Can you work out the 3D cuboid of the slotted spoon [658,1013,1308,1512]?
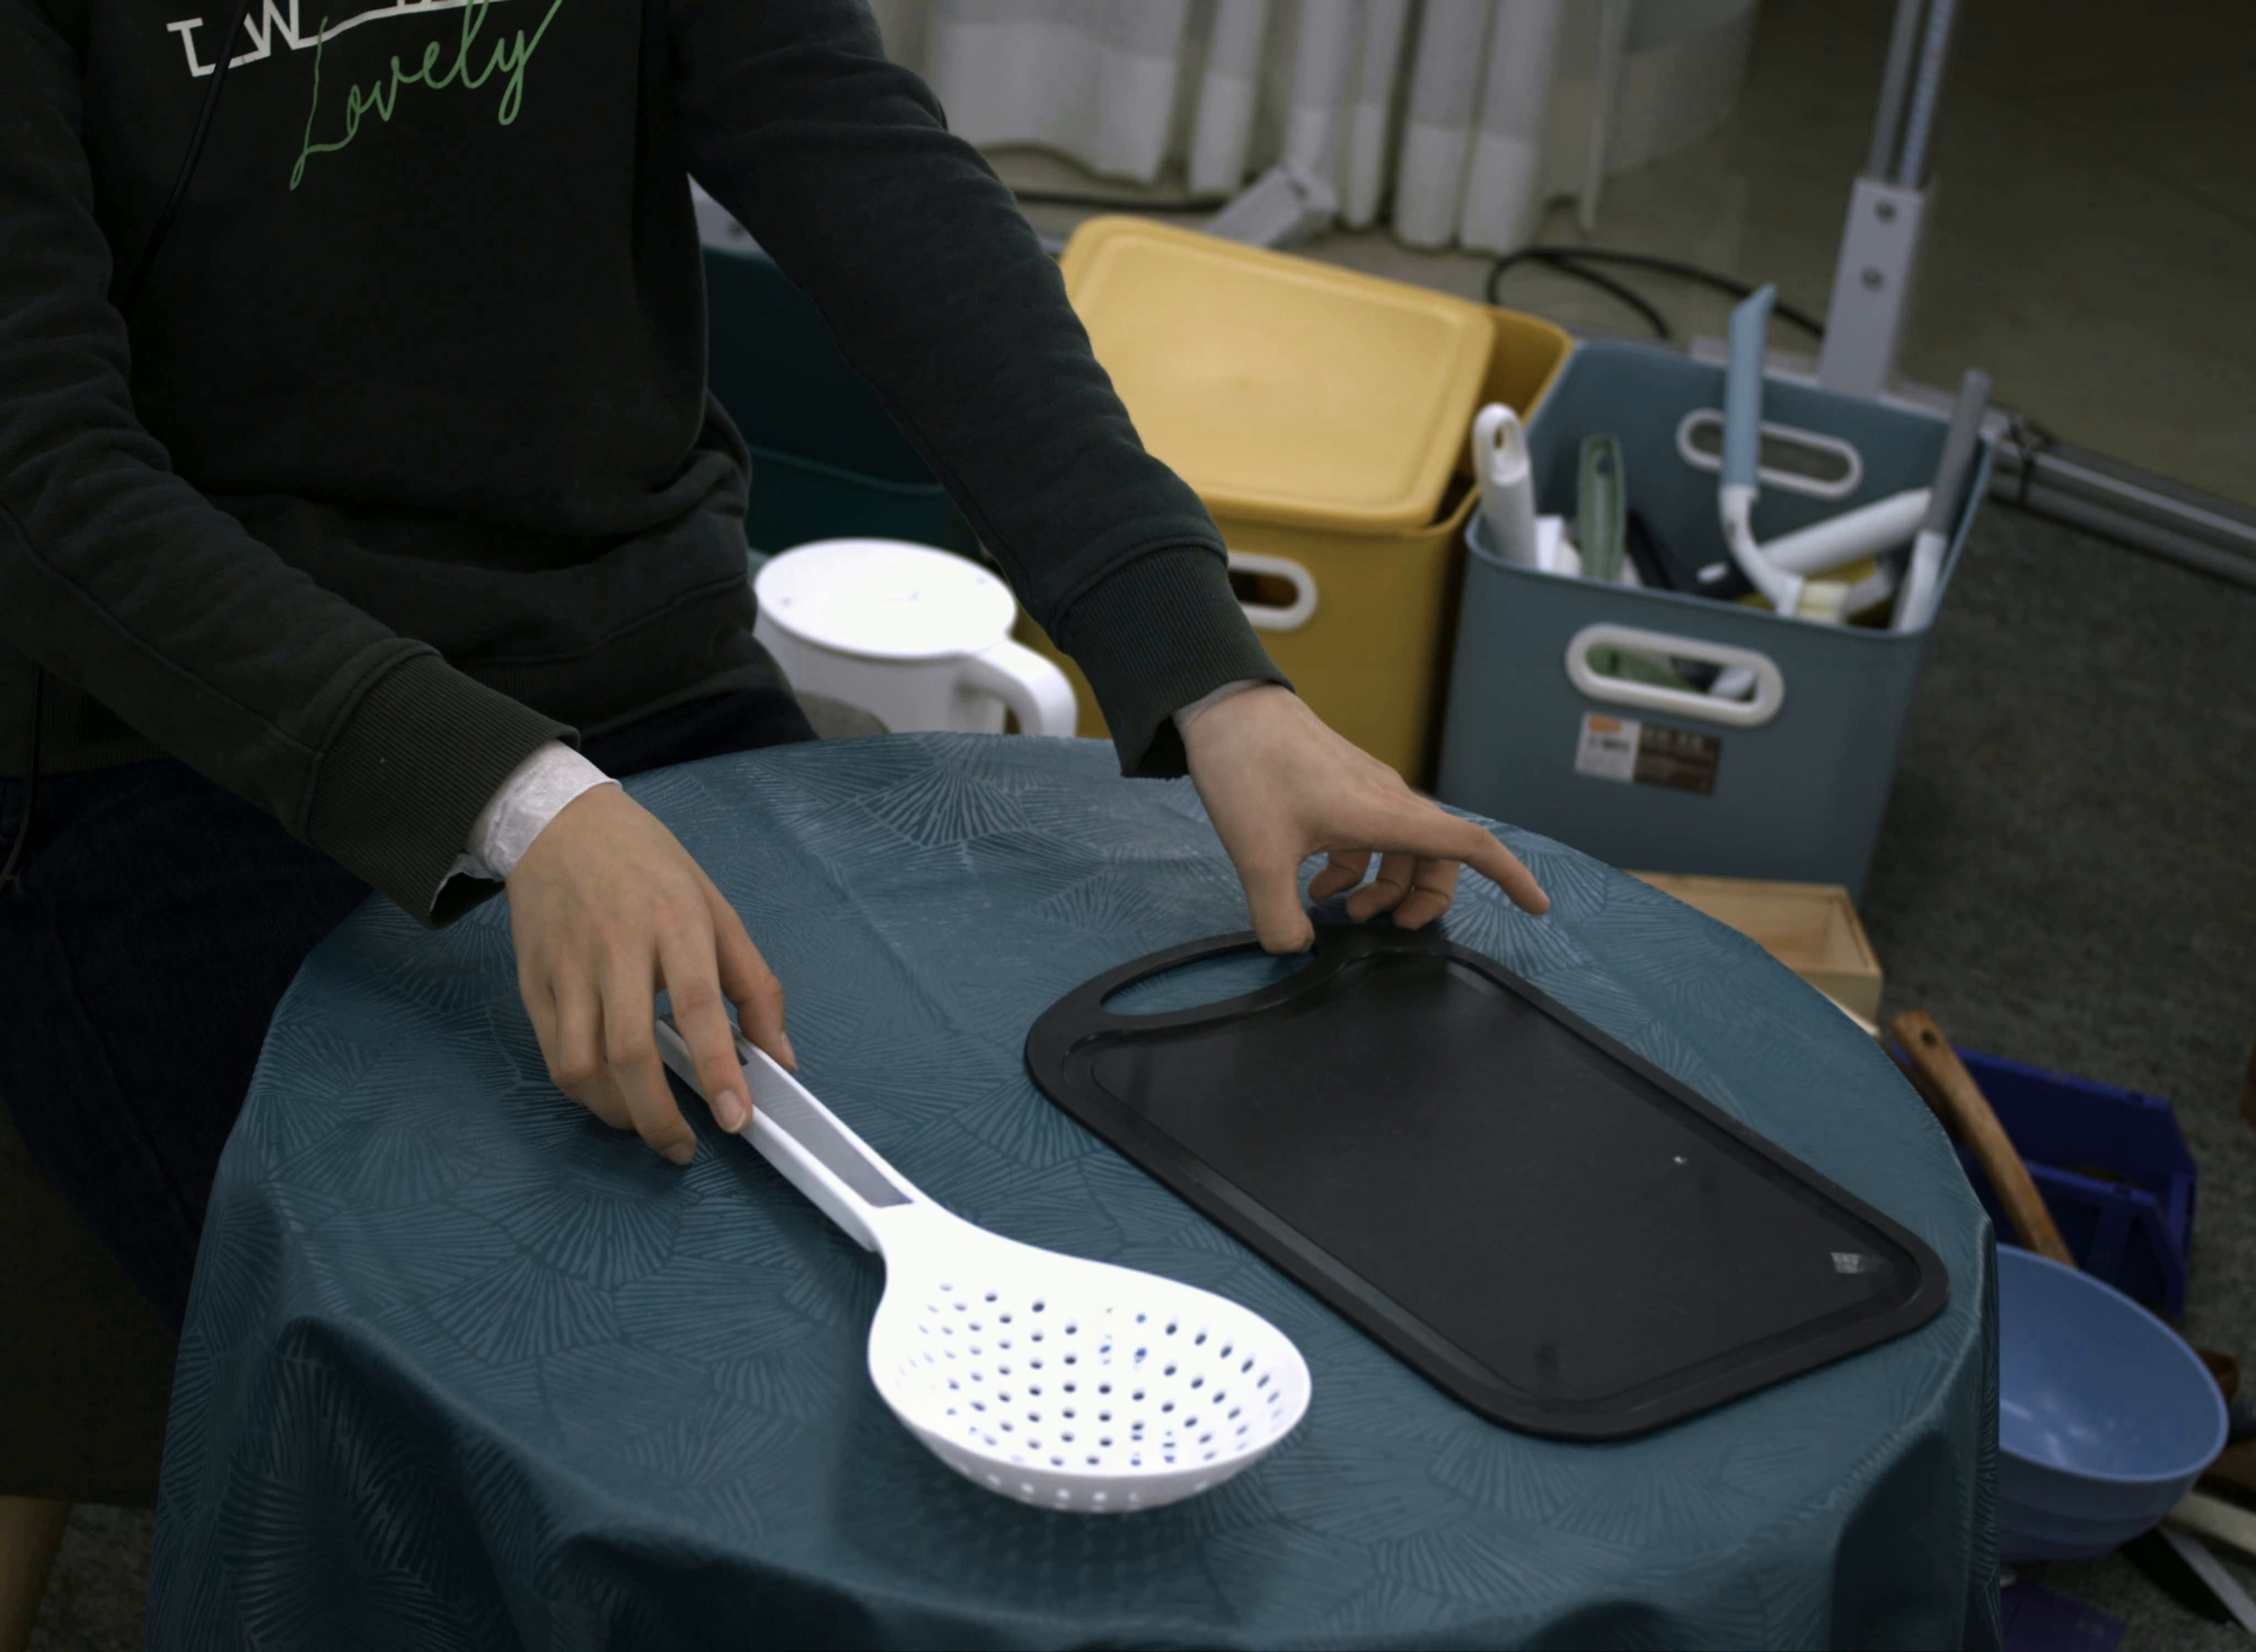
[{"bbox_3d":[-0.067,0.134,1.714,0.135,0.045,0.353,-7,29,-30],"label":"slotted spoon"}]

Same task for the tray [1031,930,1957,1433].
[{"bbox_3d":[0.117,0.113,1.840,0.210,0.010,0.328,-14,33,-36],"label":"tray"}]
